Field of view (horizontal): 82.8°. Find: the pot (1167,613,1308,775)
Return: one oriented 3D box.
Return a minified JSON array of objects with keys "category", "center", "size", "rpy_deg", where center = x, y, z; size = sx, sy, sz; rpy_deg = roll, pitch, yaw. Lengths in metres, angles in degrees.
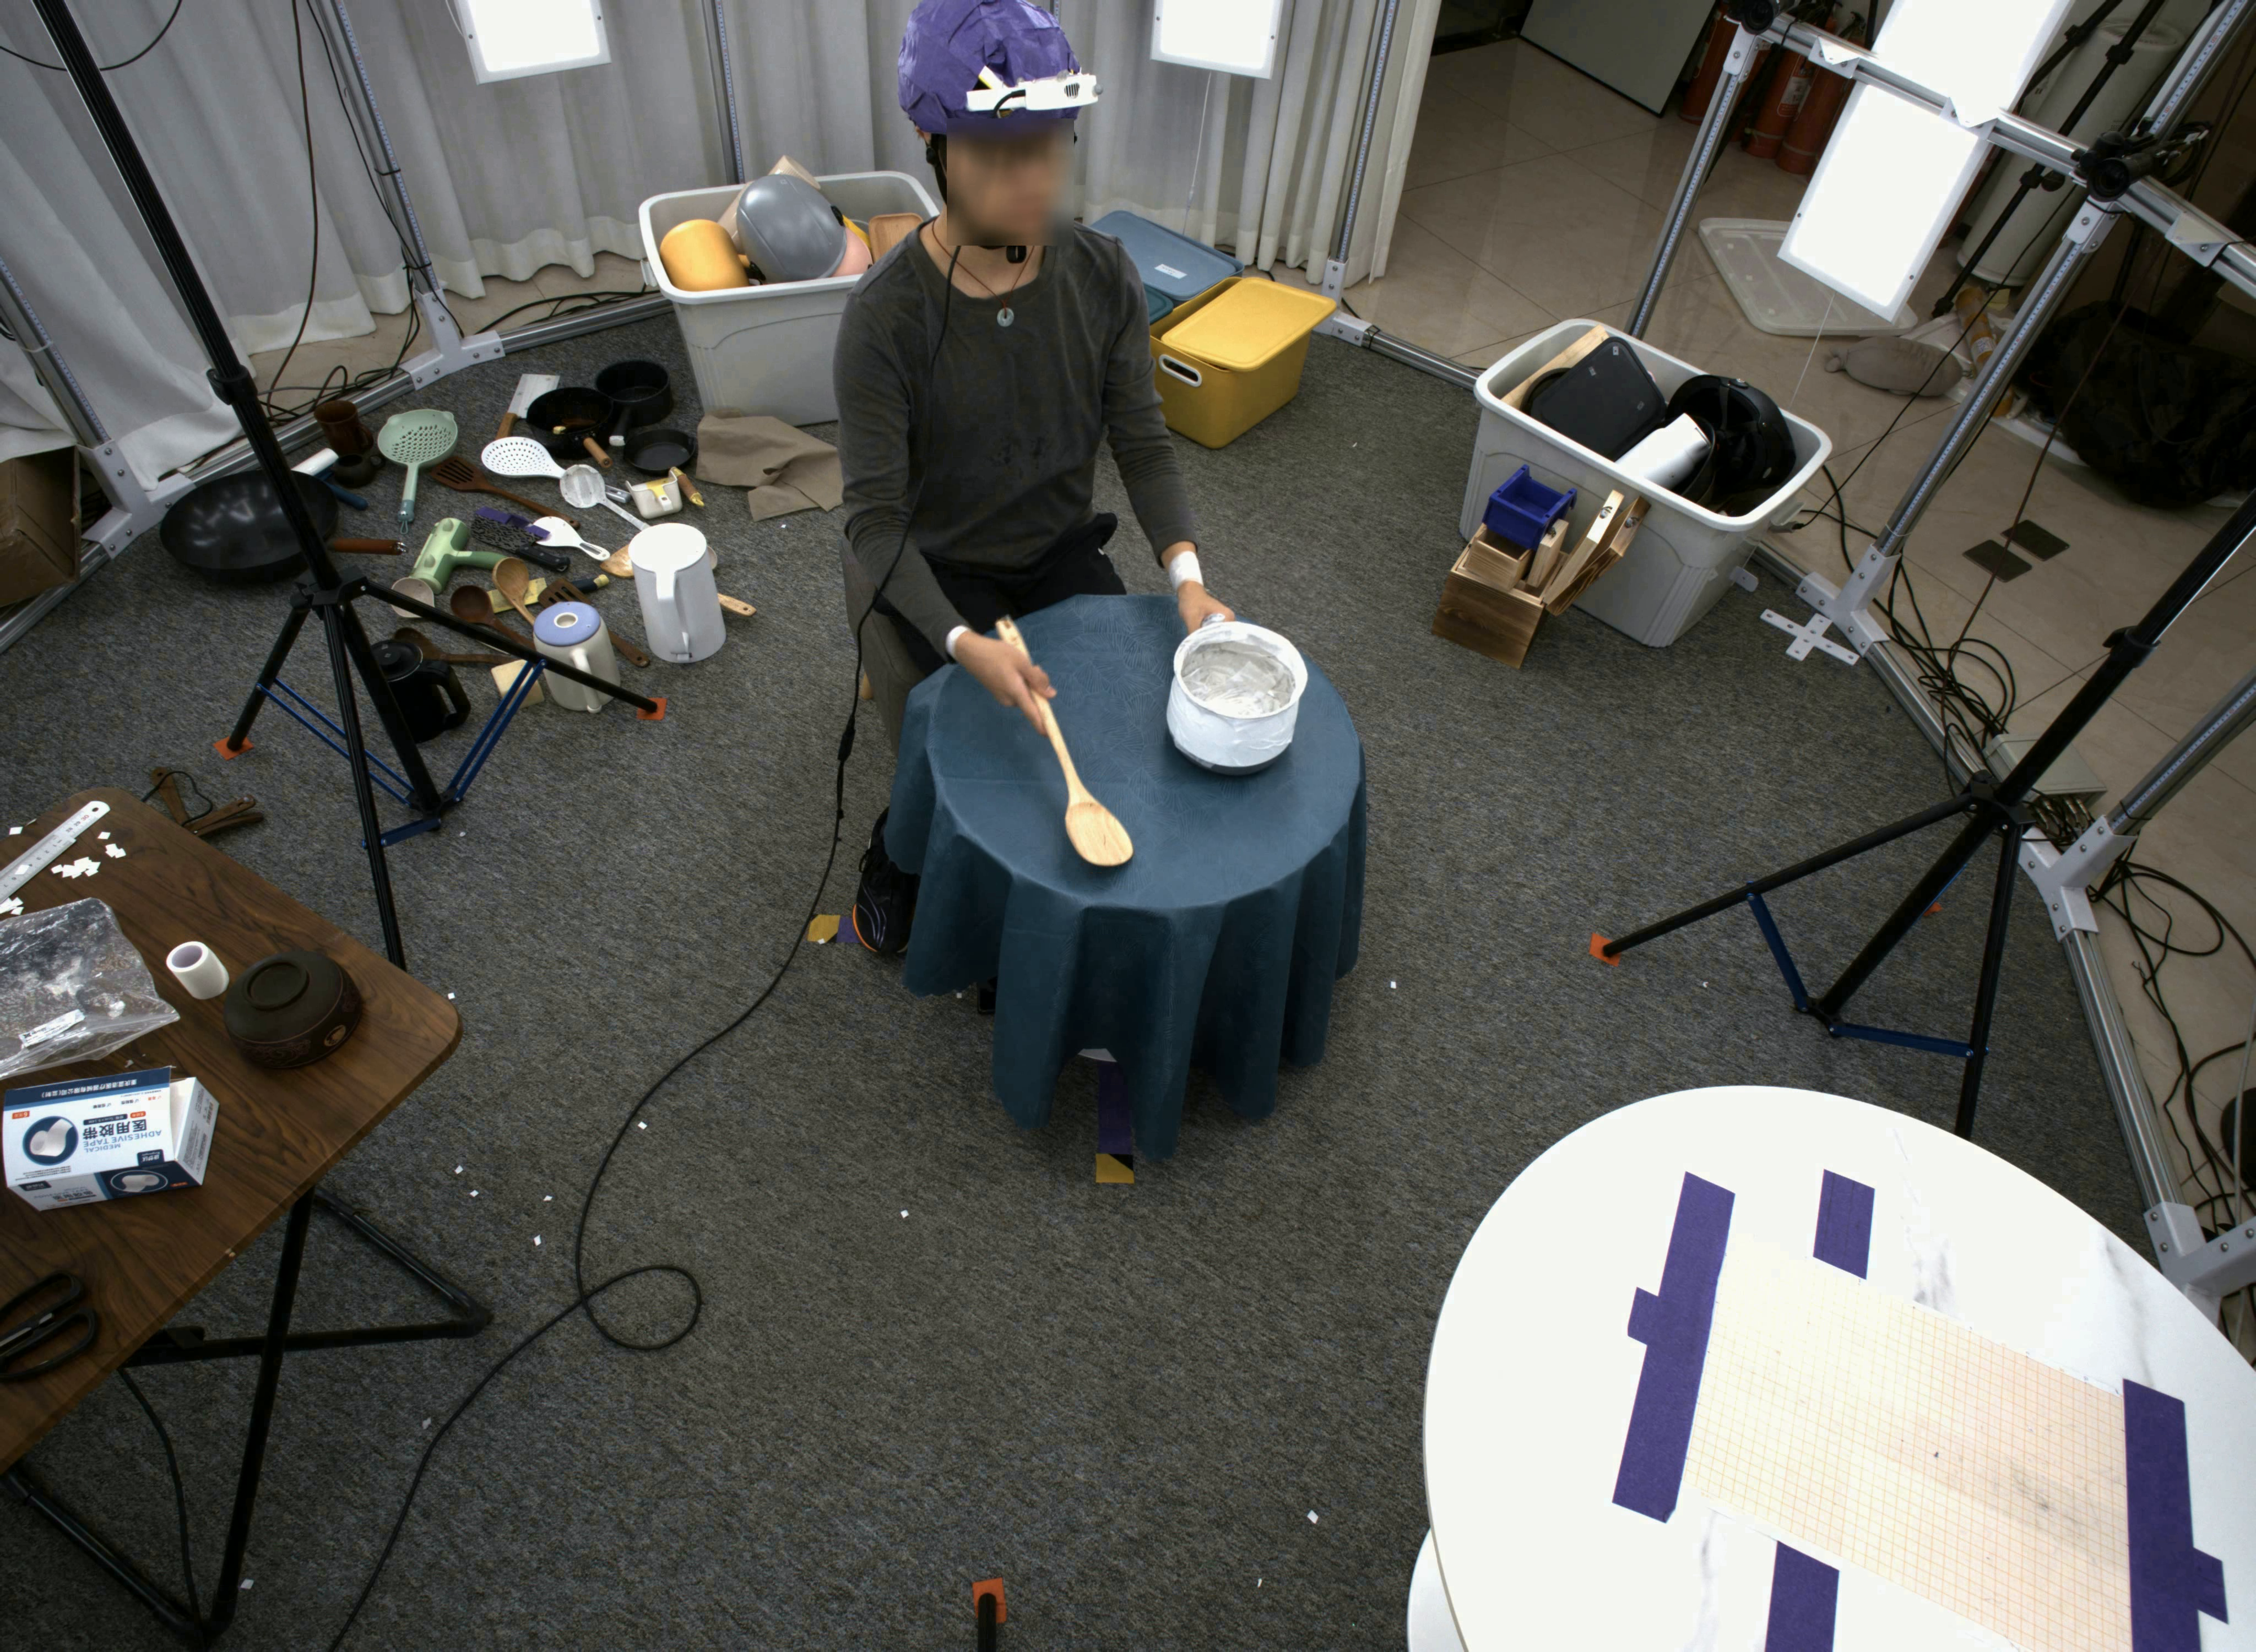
[{"category":"pot","center":[0.136,-0.190,1.749],"size":[0.178,0.133,0.239],"rpy_deg":[-10,52,-13]}]

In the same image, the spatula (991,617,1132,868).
[{"category":"spatula","center":[-0.102,-0.114,1.670],"size":[0.095,0.018,0.397],"rpy_deg":[-6,63,-42]}]
